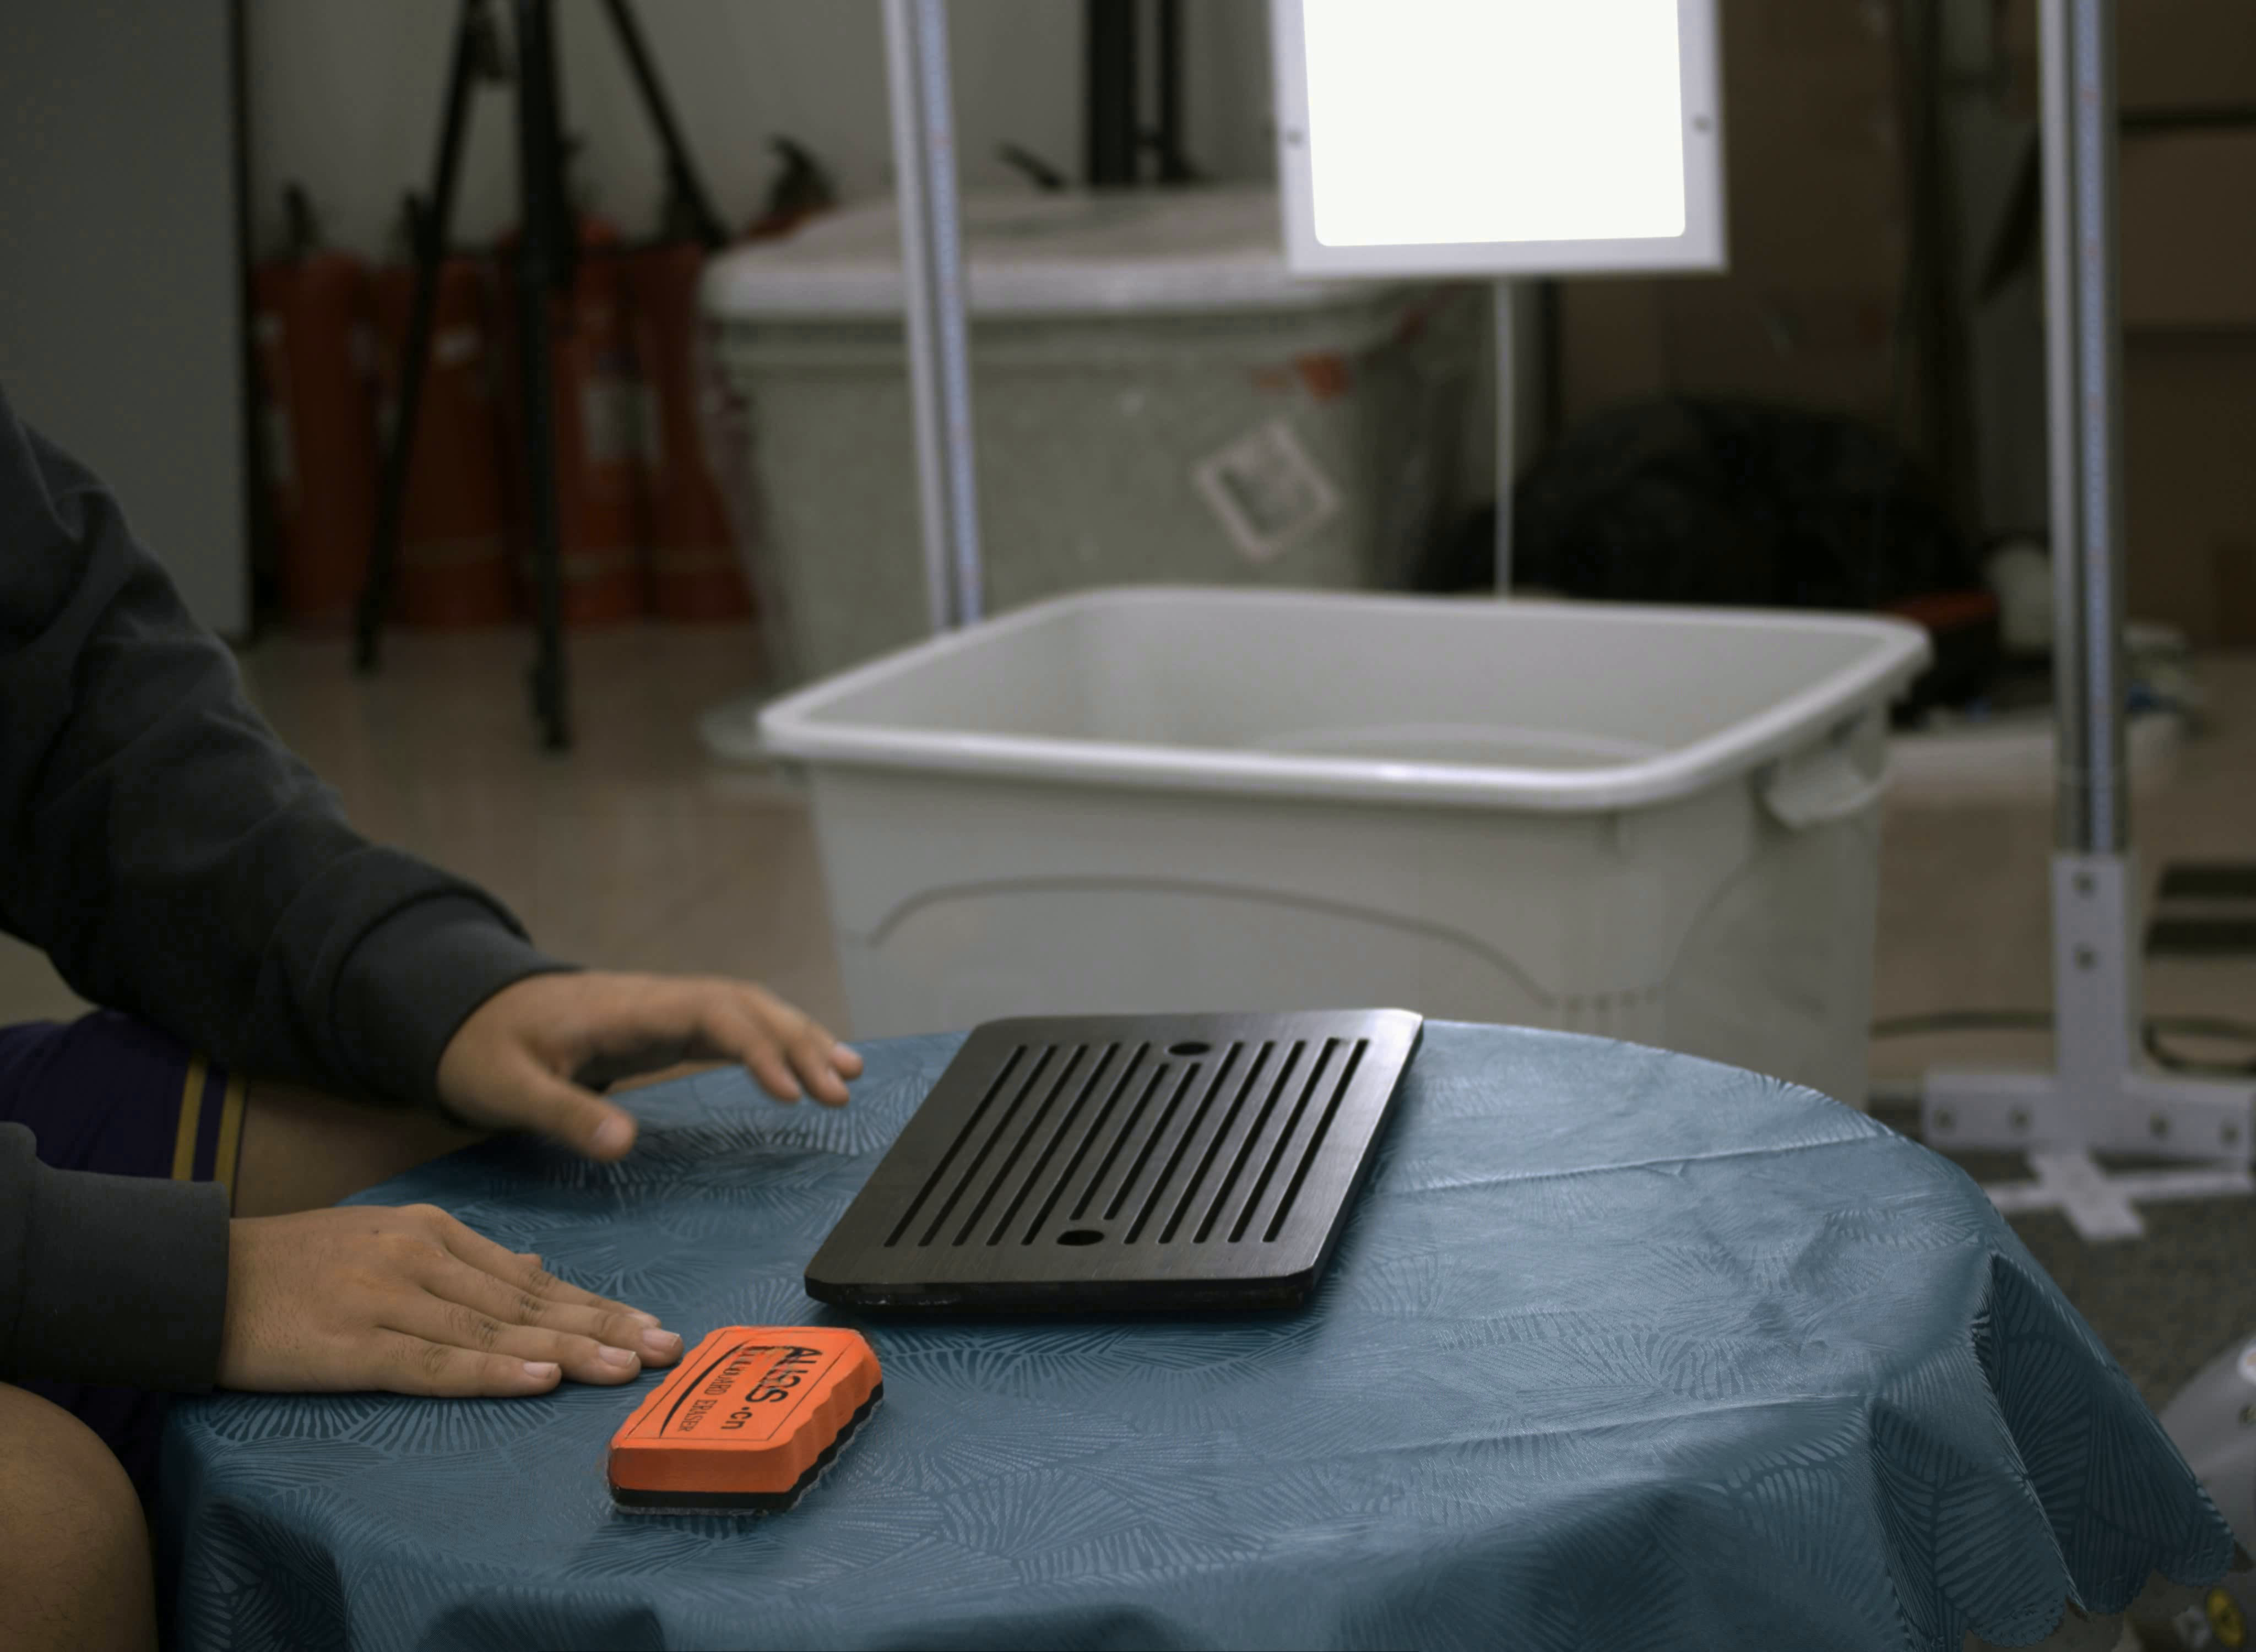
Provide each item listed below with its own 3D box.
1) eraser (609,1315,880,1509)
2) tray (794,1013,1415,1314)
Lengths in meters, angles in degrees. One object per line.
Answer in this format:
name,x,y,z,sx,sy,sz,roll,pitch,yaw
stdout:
eraser,-0.115,0.177,1.672,0.059,0.023,0.106,-1,15,16
tray,-0.001,0.115,1.906,0.171,0.019,0.302,-2,14,12
